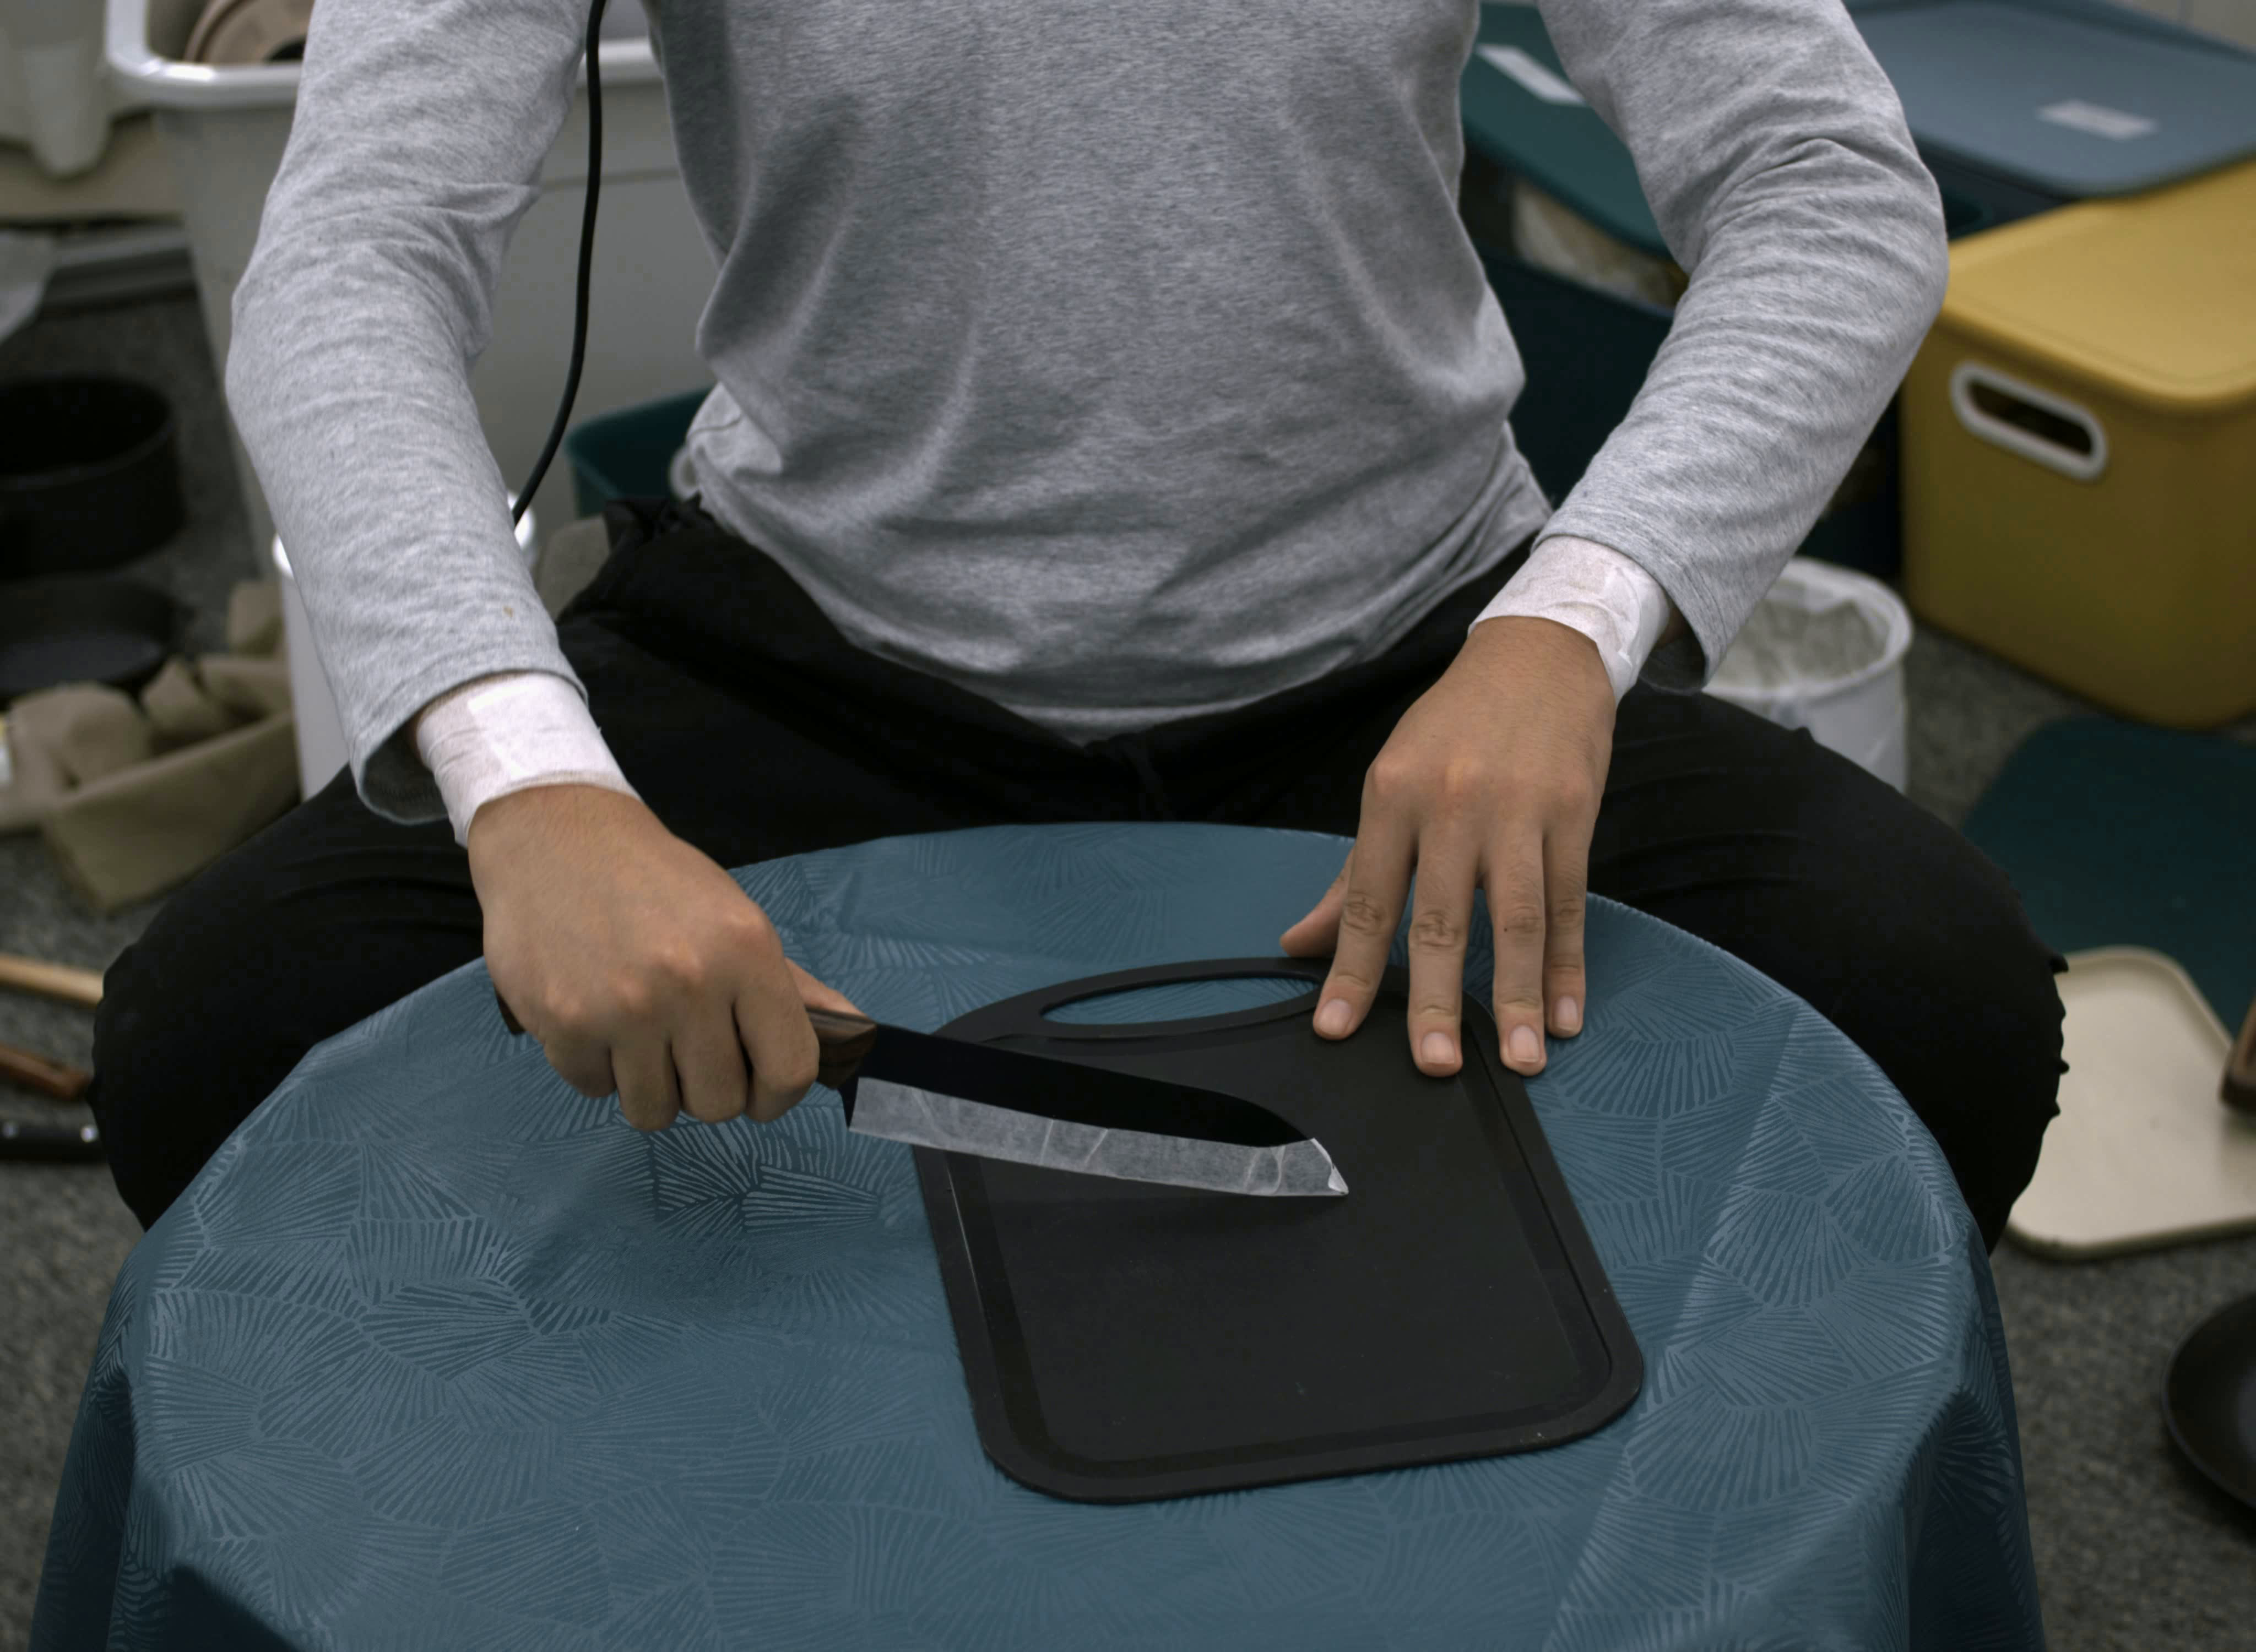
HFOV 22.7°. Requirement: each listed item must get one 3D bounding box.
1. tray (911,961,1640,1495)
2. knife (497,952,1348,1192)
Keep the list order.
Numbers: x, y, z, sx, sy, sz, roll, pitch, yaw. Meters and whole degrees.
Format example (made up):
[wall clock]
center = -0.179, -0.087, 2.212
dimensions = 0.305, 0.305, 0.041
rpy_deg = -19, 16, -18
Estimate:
[tray]
center = 0.039, 0.123, 1.849
dimensions = 0.210, 0.009, 0.329
rpy_deg = -6, 27, -6
[knife]
center = -0.067, 0.083, 1.843
dimensions = 0.288, 0.049, 0.020
rpy_deg = 13, 30, -1
